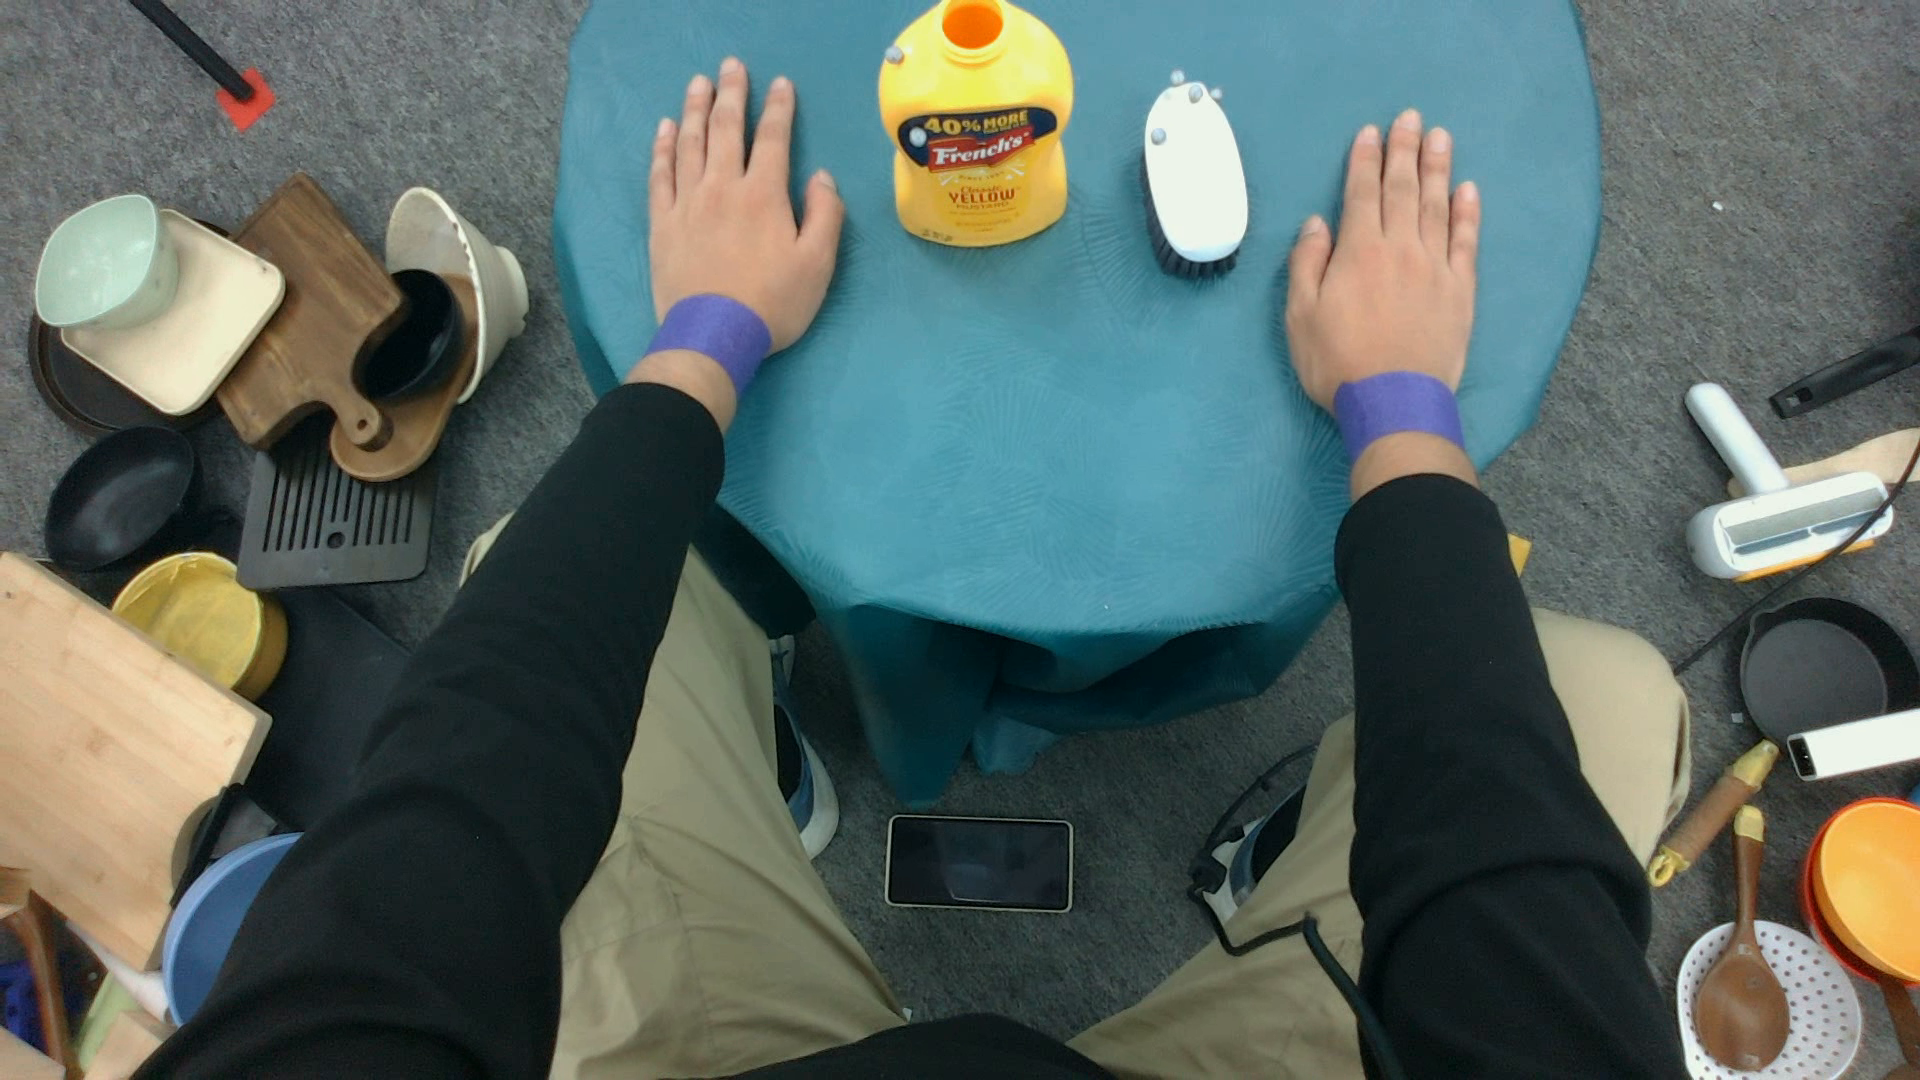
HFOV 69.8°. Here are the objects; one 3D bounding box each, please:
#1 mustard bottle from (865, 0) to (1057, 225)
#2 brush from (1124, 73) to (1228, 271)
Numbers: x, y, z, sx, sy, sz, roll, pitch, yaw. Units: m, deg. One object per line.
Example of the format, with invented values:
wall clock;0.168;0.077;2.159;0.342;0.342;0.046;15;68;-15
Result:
mustard bottle;0.002;-0.222;0.708;0.098;0.171;0.059;-9;80;-2
brush;0.119;-0.206;0.749;0.050;0.072;0.099;-8;75;1
